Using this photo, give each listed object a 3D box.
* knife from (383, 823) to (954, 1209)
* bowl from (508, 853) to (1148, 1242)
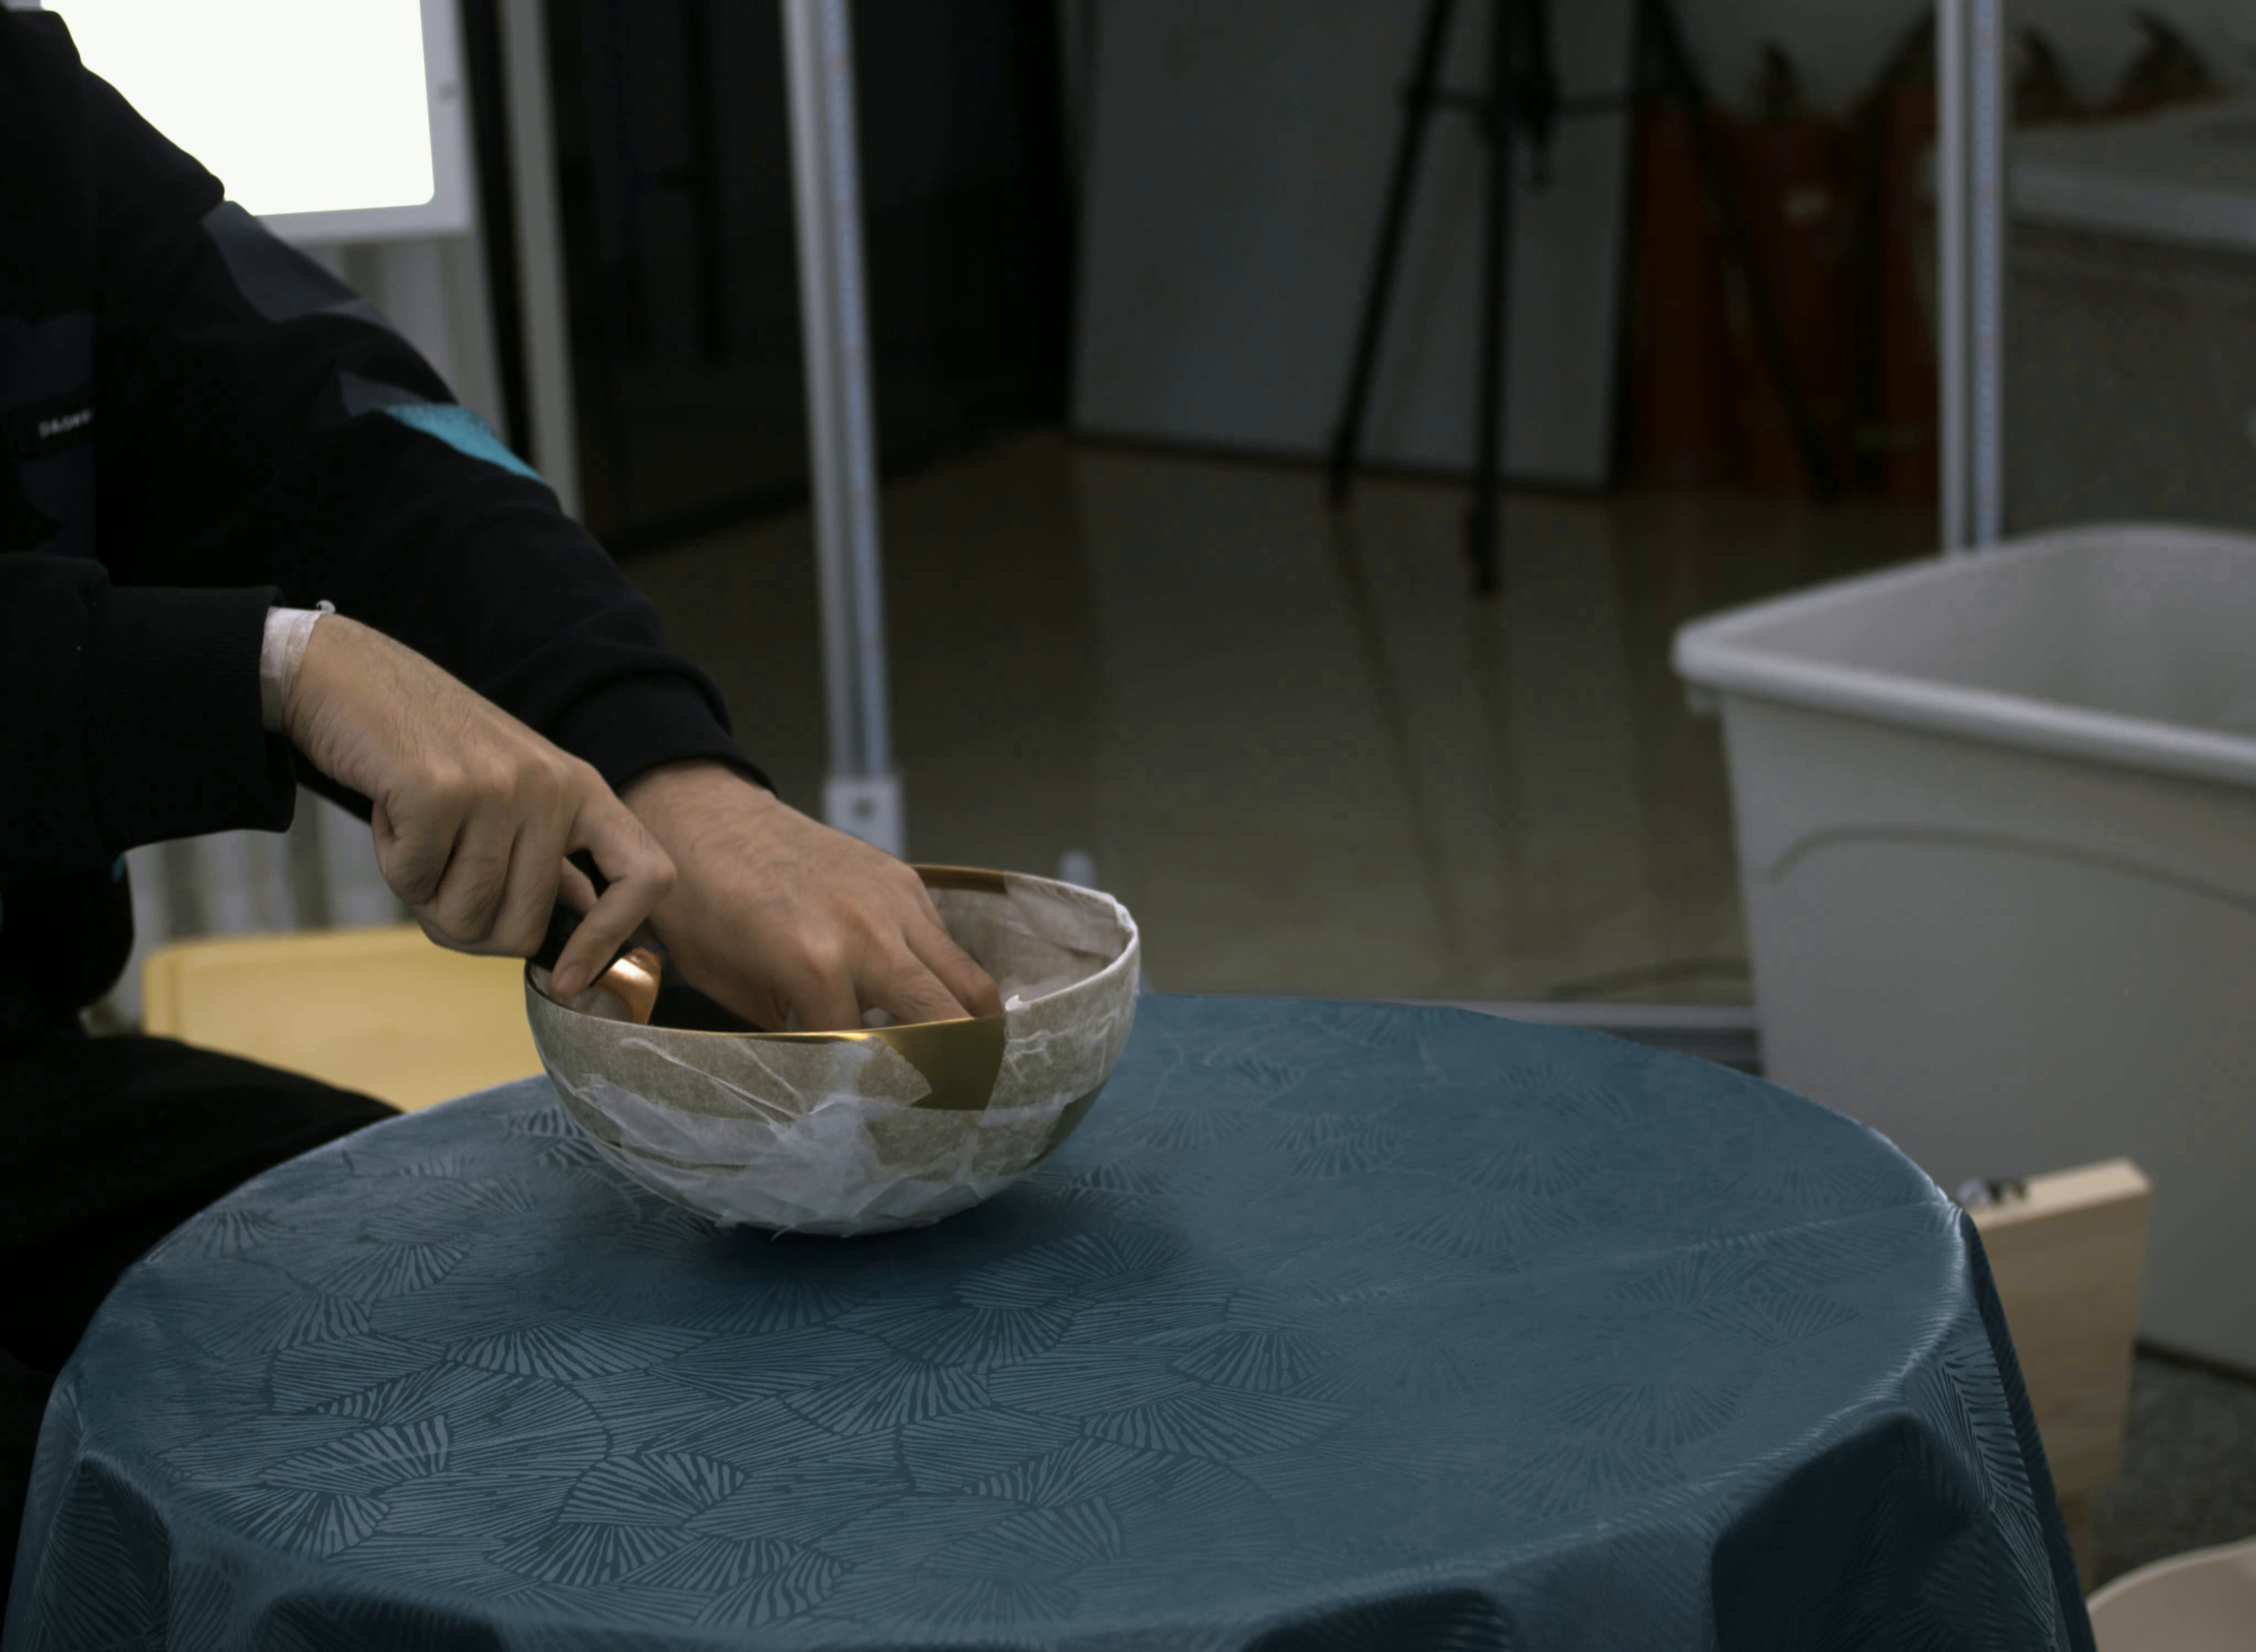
[{"bbox_3d":[-0.146,0.060,1.727,0.226,0.026,0.017,30,21,16],"label":"knife"},{"bbox_3d":[-0.096,0.080,1.764,0.212,0.095,0.215,-3,15,0],"label":"bowl"}]
